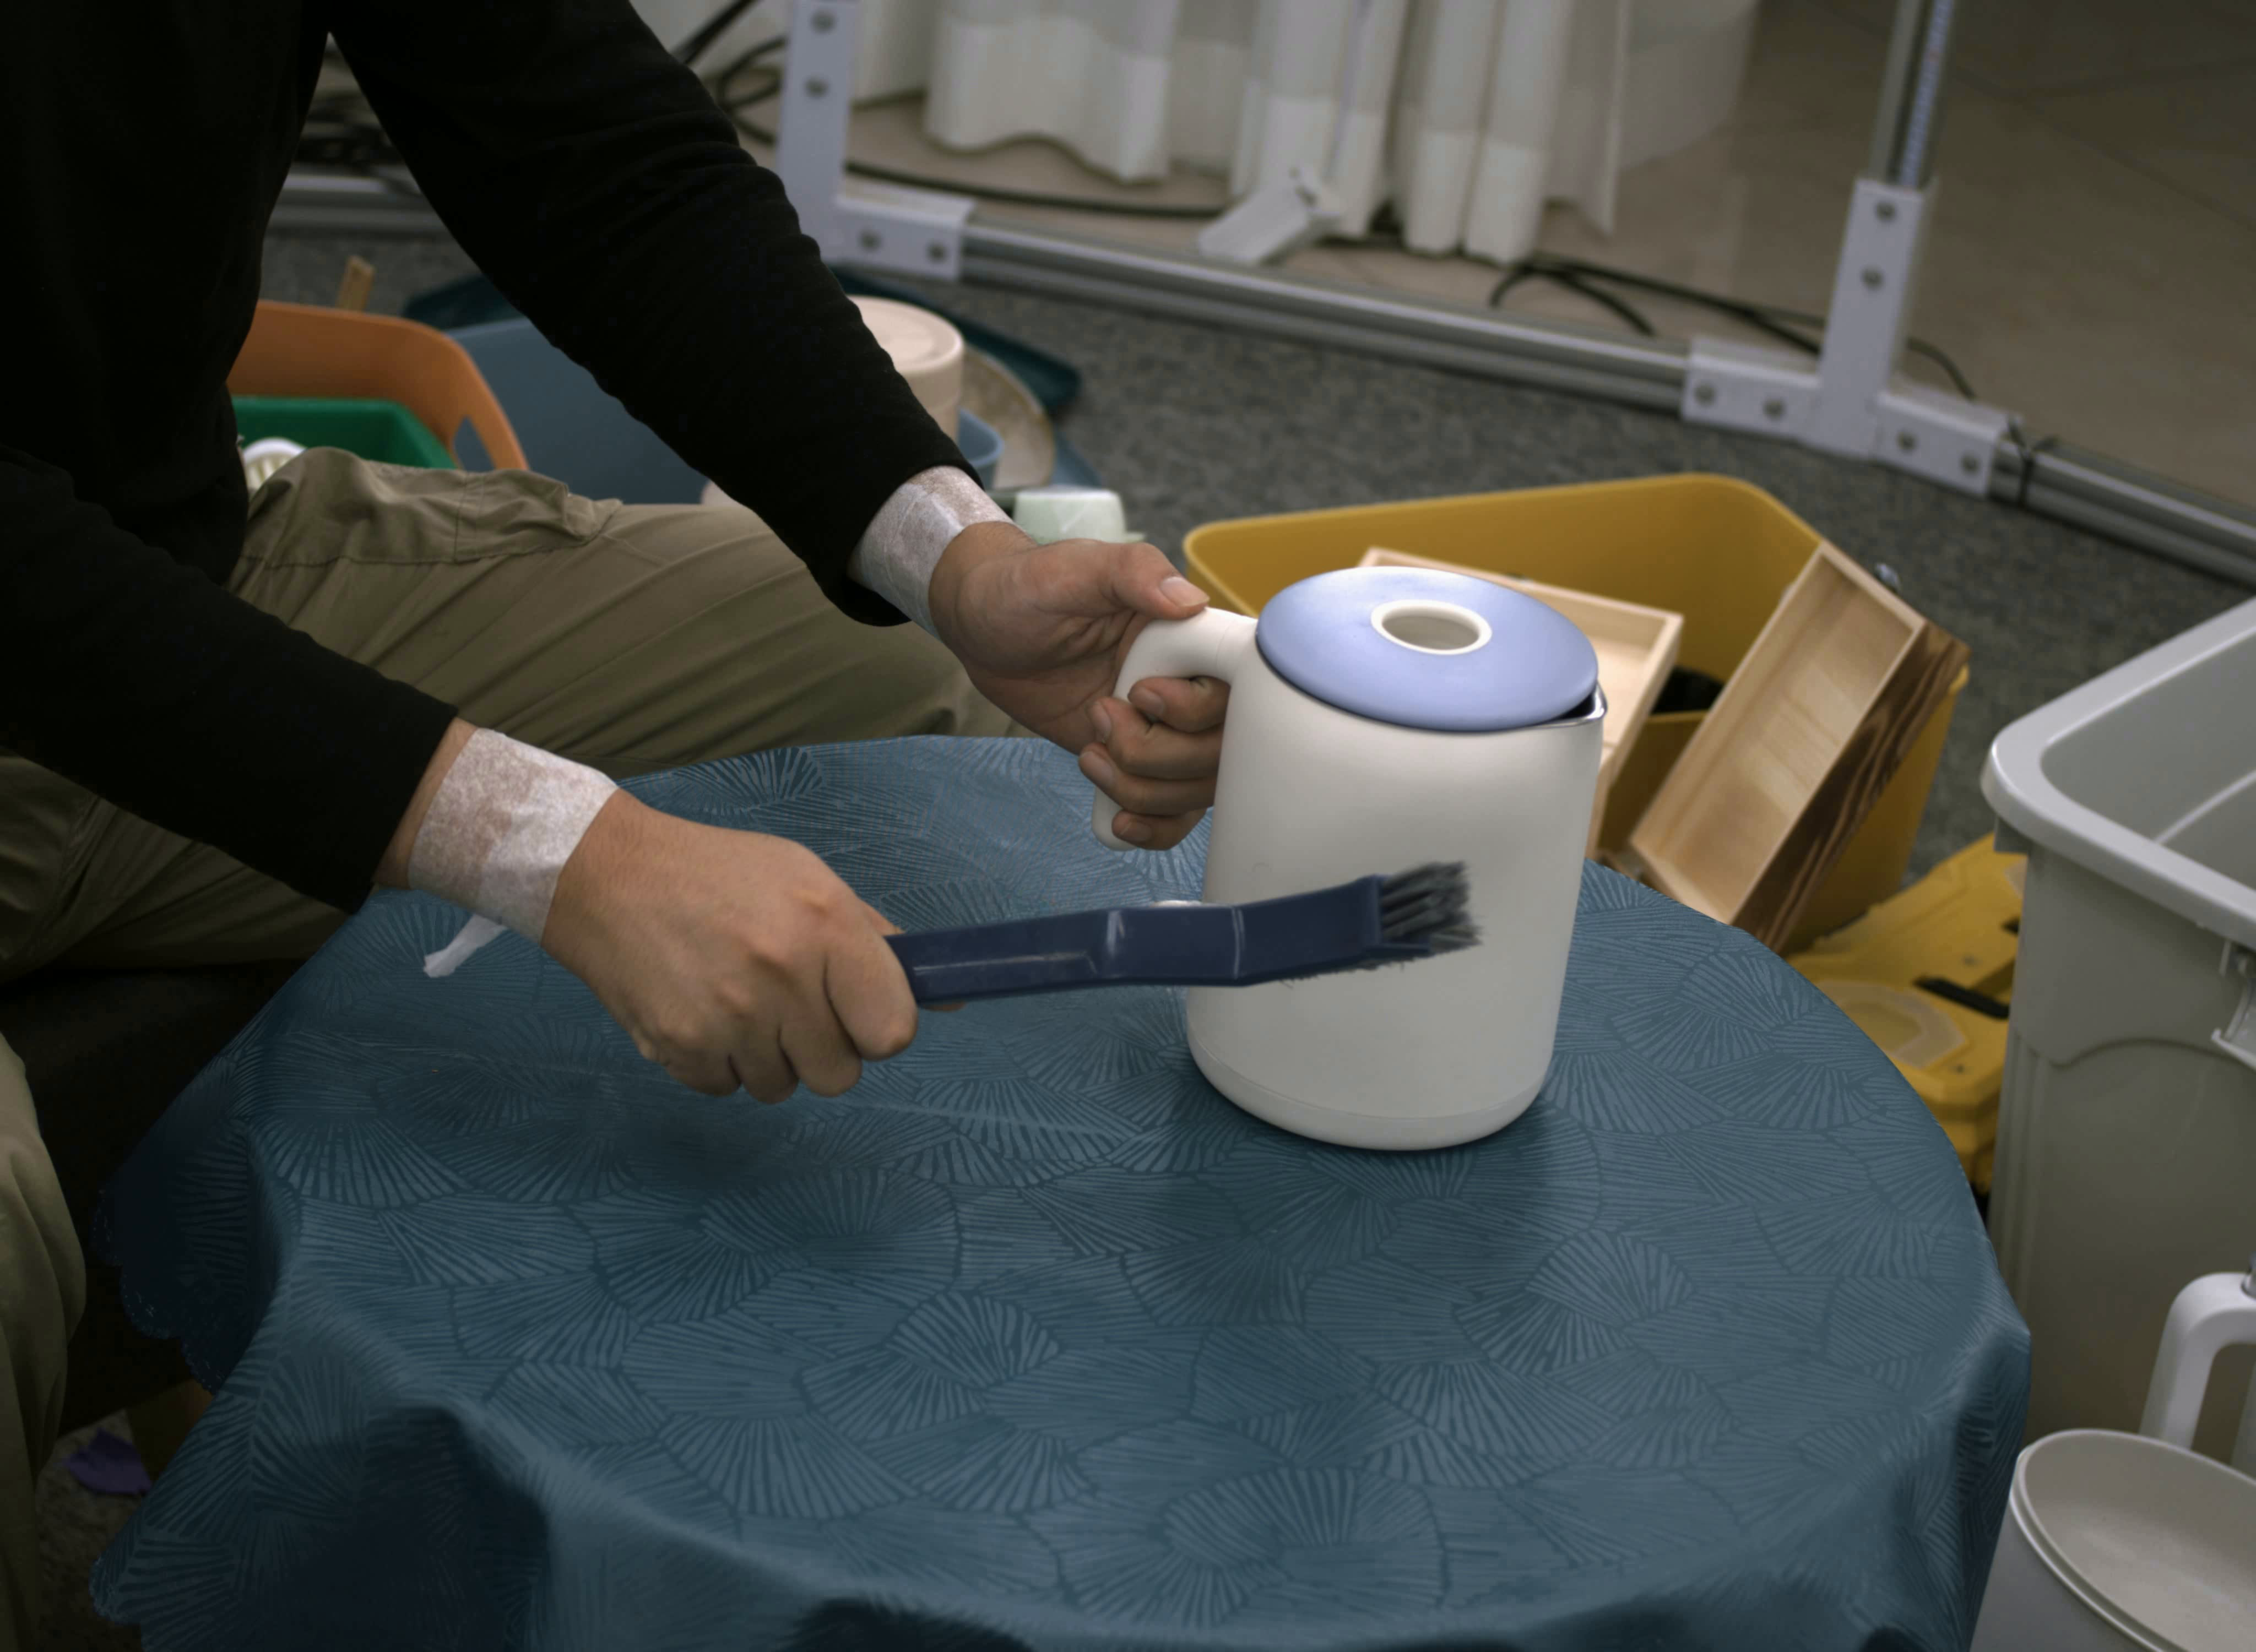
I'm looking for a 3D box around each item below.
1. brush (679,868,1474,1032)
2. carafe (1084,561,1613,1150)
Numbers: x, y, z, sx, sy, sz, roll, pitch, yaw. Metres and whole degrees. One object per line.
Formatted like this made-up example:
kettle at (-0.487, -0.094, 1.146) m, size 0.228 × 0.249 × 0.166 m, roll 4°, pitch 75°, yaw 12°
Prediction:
brush at (-0.024, 0.037, 1.737) m, size 0.273 × 0.033 × 0.095 m, roll -5°, pitch -9°, yaw 11°
carafe at (0.072, 0.002, 1.867) m, size 0.192 × 0.182 × 0.132 m, roll 18°, pitch 28°, yaw 24°
